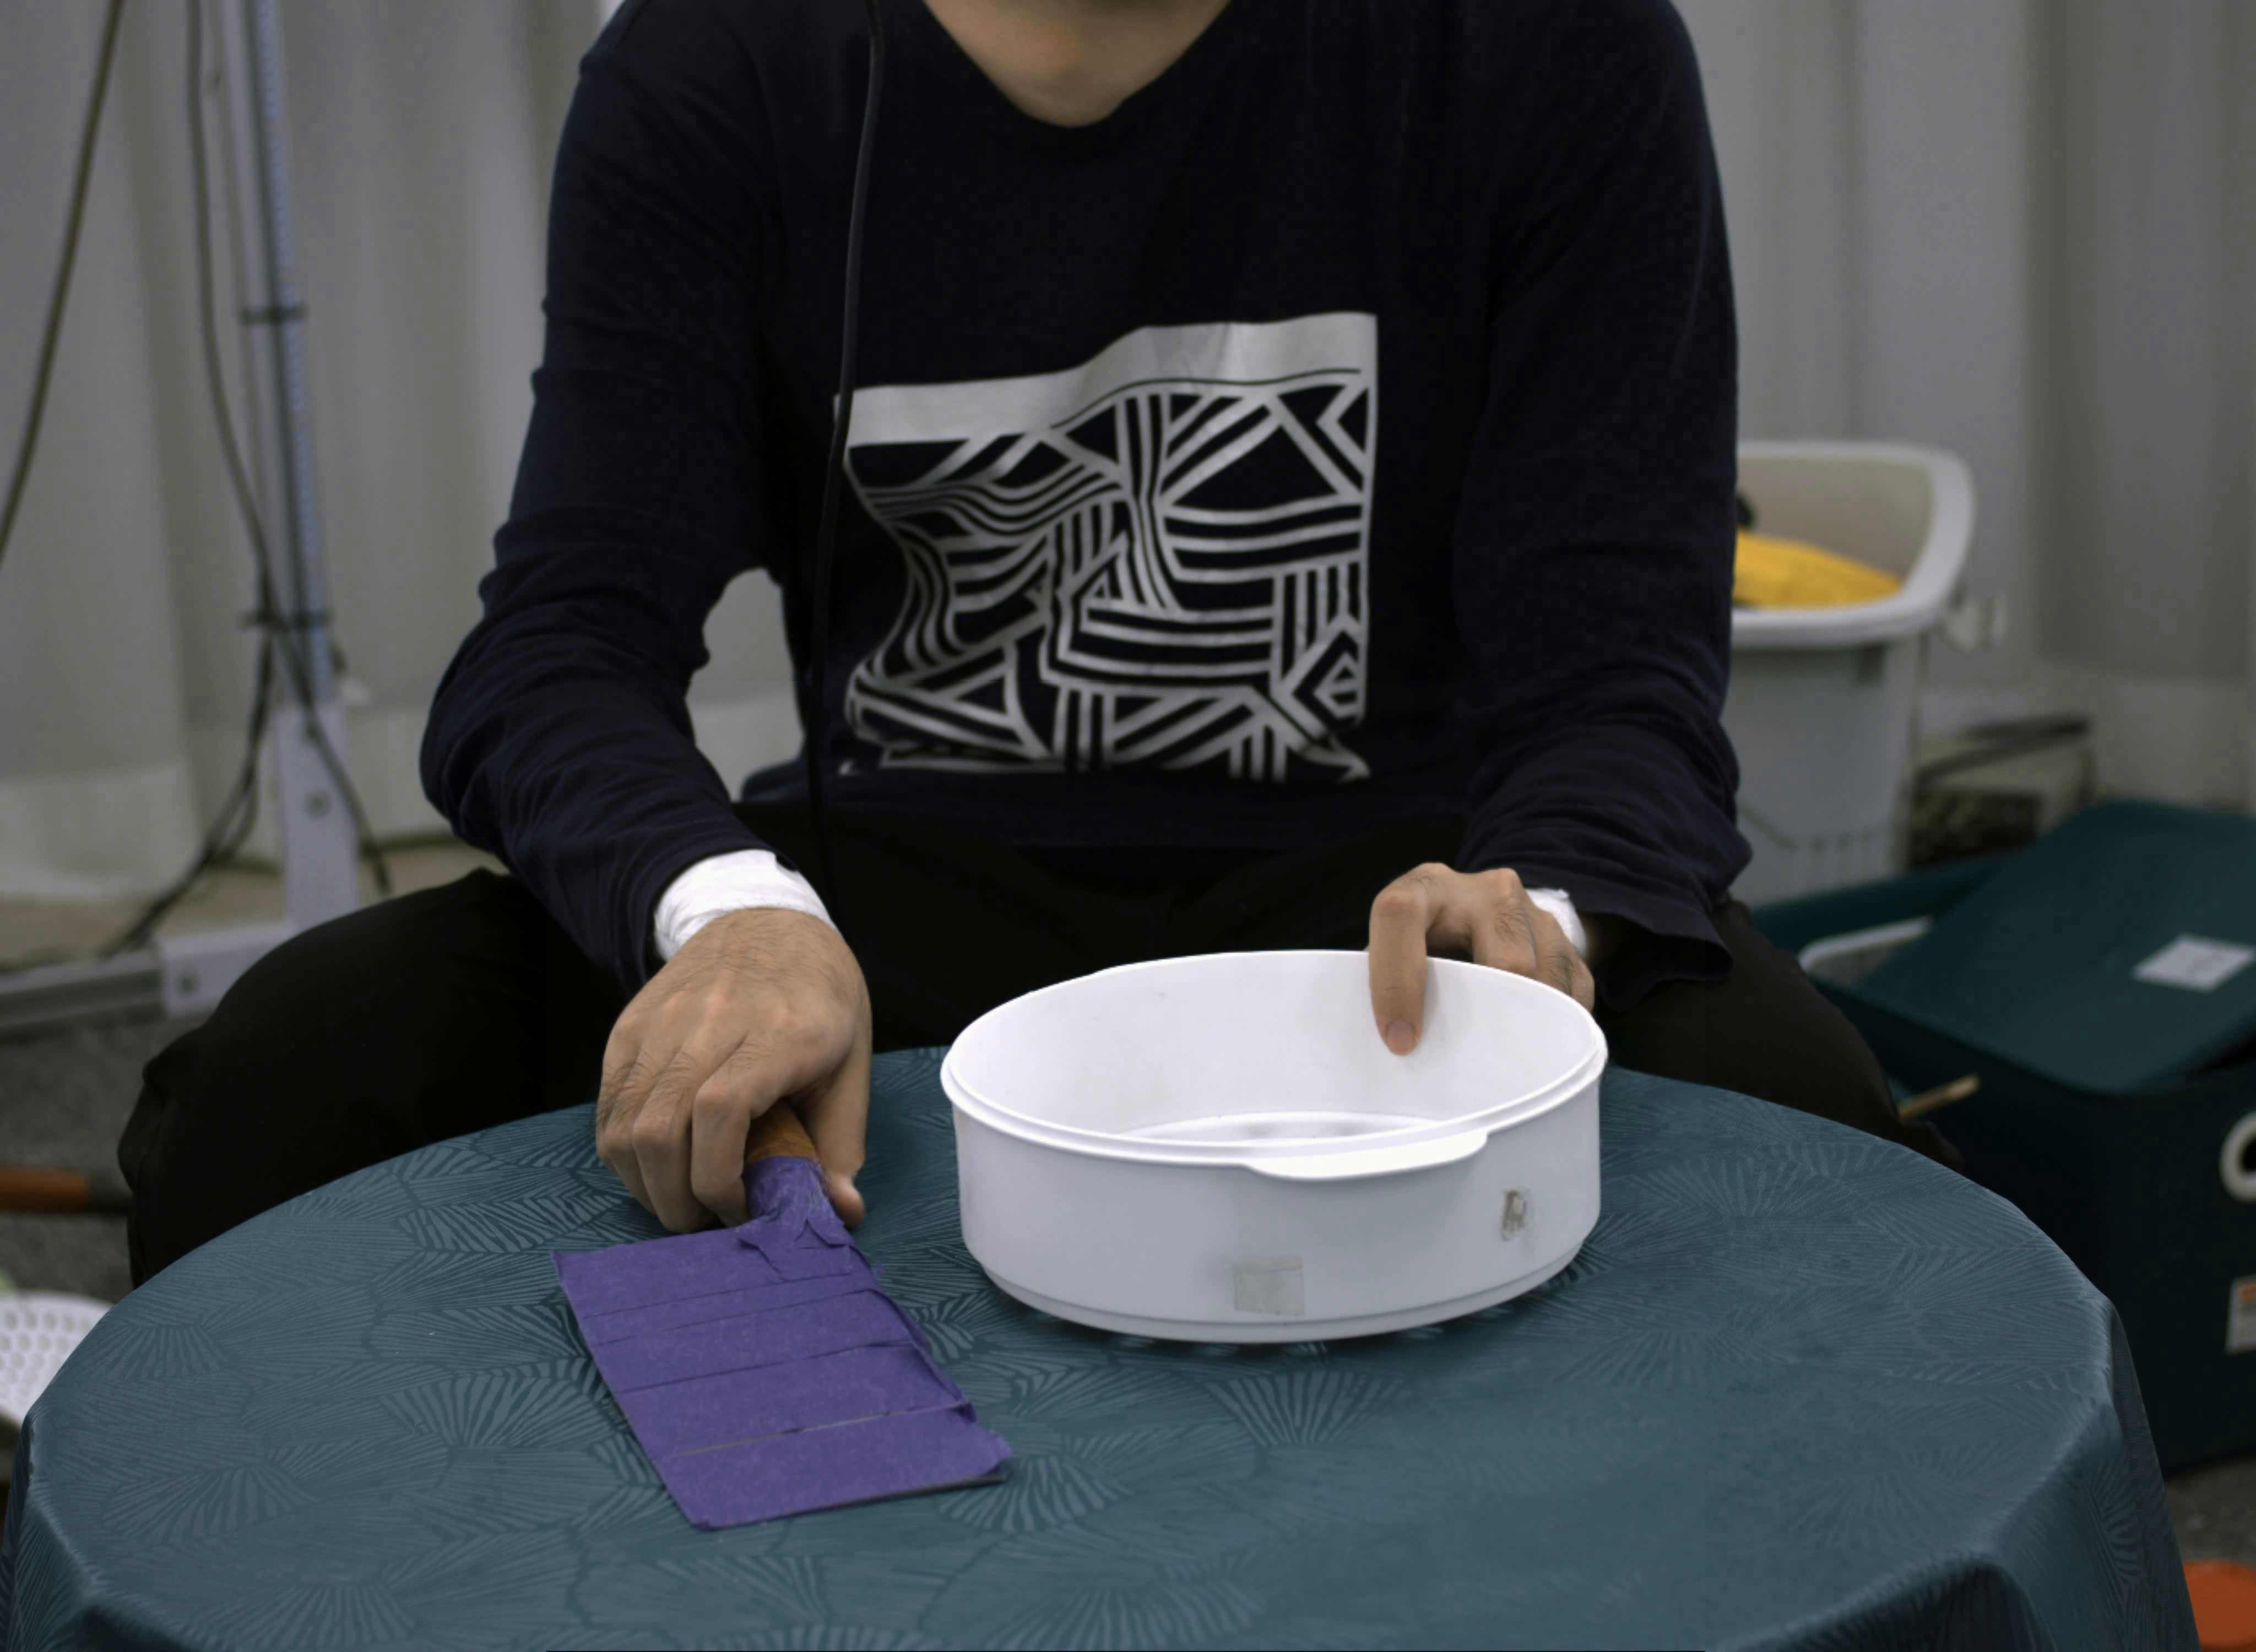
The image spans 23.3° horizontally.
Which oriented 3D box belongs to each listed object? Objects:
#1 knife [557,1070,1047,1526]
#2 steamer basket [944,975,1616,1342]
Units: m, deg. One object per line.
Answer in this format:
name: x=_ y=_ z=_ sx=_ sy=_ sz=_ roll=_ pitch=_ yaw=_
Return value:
knife: x=-0.116 y=0.135 z=1.610 sx=0.103 sy=0.032 sz=0.318 roll=-7 pitch=16 yaw=-16
steamer basket: x=0.046 y=0.099 z=1.641 sx=0.201 sy=0.069 sz=0.232 roll=-5 pitch=12 yaw=-14
